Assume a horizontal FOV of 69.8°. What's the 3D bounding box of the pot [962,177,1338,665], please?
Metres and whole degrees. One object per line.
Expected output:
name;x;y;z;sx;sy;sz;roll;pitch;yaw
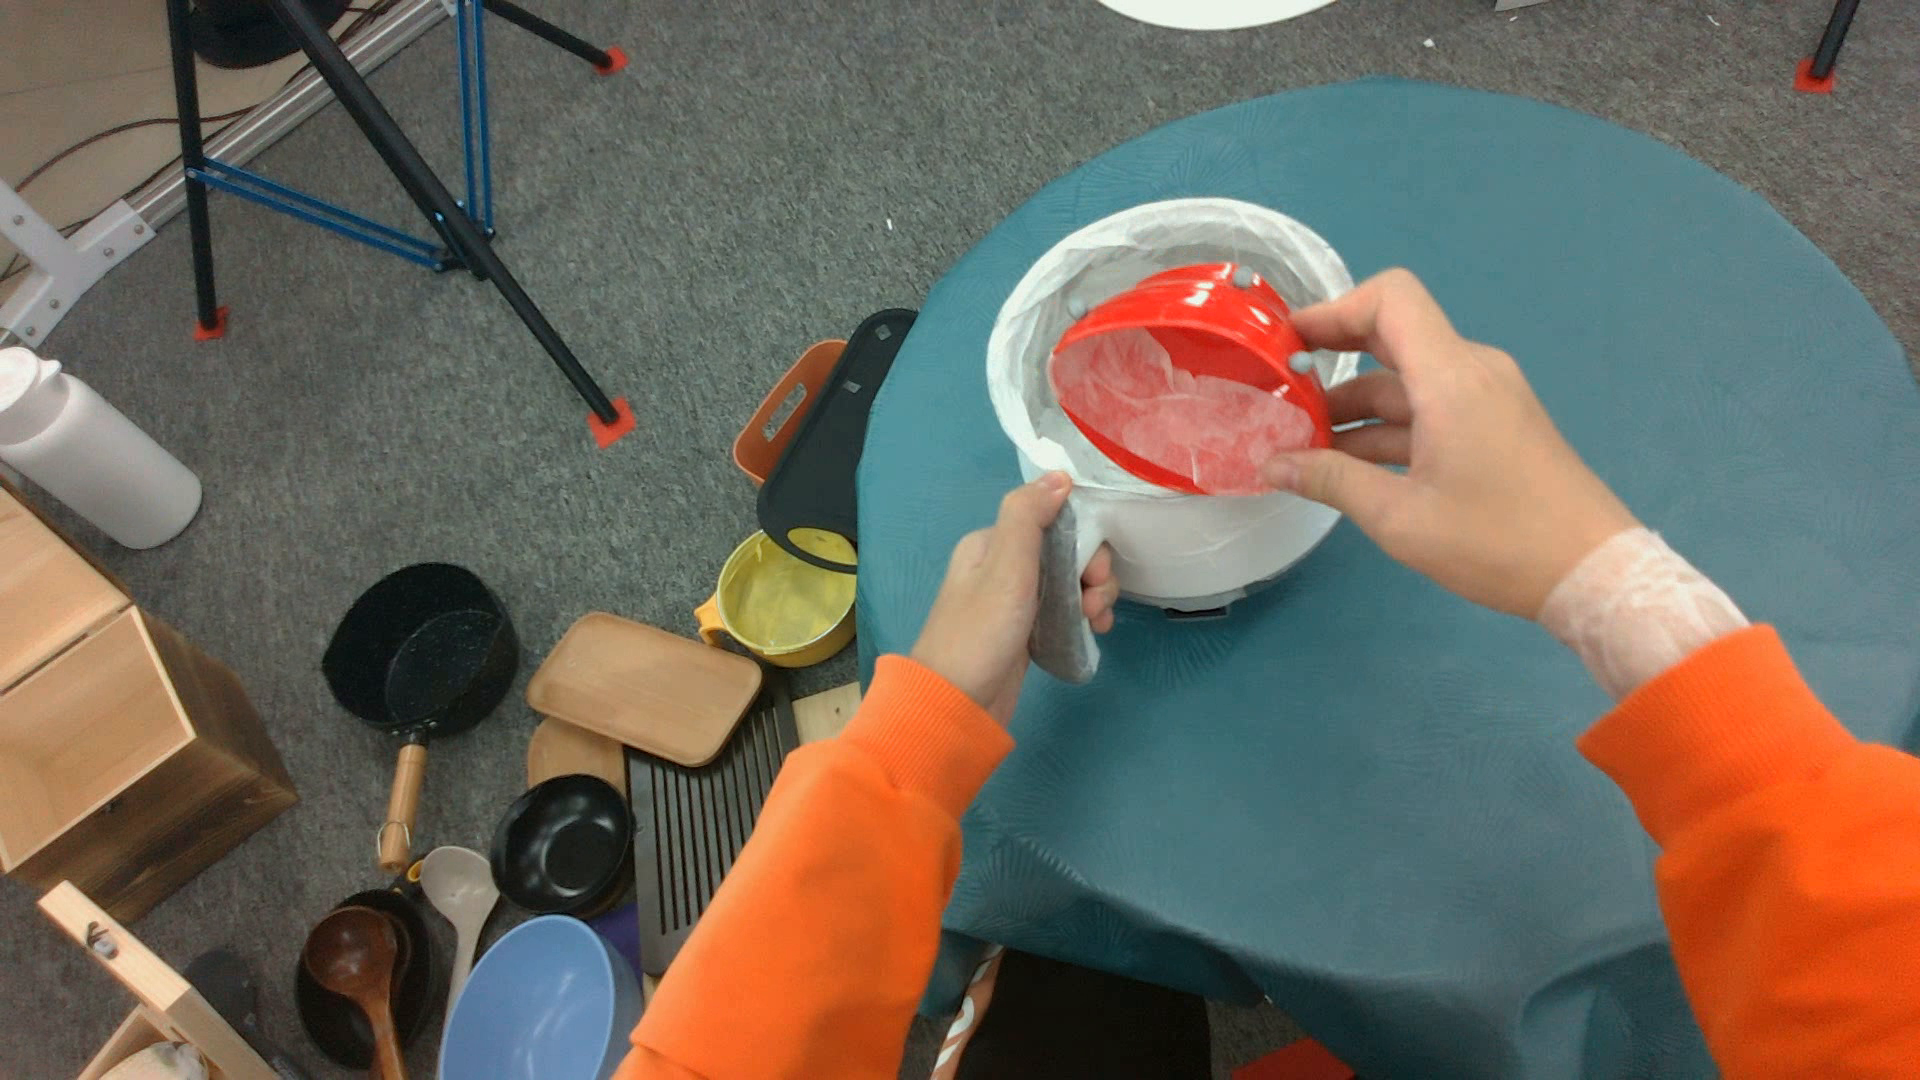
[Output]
pot;0.089;-0.053;0.698;0.178;0.136;0.234;21;69;26

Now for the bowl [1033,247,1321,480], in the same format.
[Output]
bowl;0.093;-0.077;0.563;0.119;0.118;0.051;12;61;18
